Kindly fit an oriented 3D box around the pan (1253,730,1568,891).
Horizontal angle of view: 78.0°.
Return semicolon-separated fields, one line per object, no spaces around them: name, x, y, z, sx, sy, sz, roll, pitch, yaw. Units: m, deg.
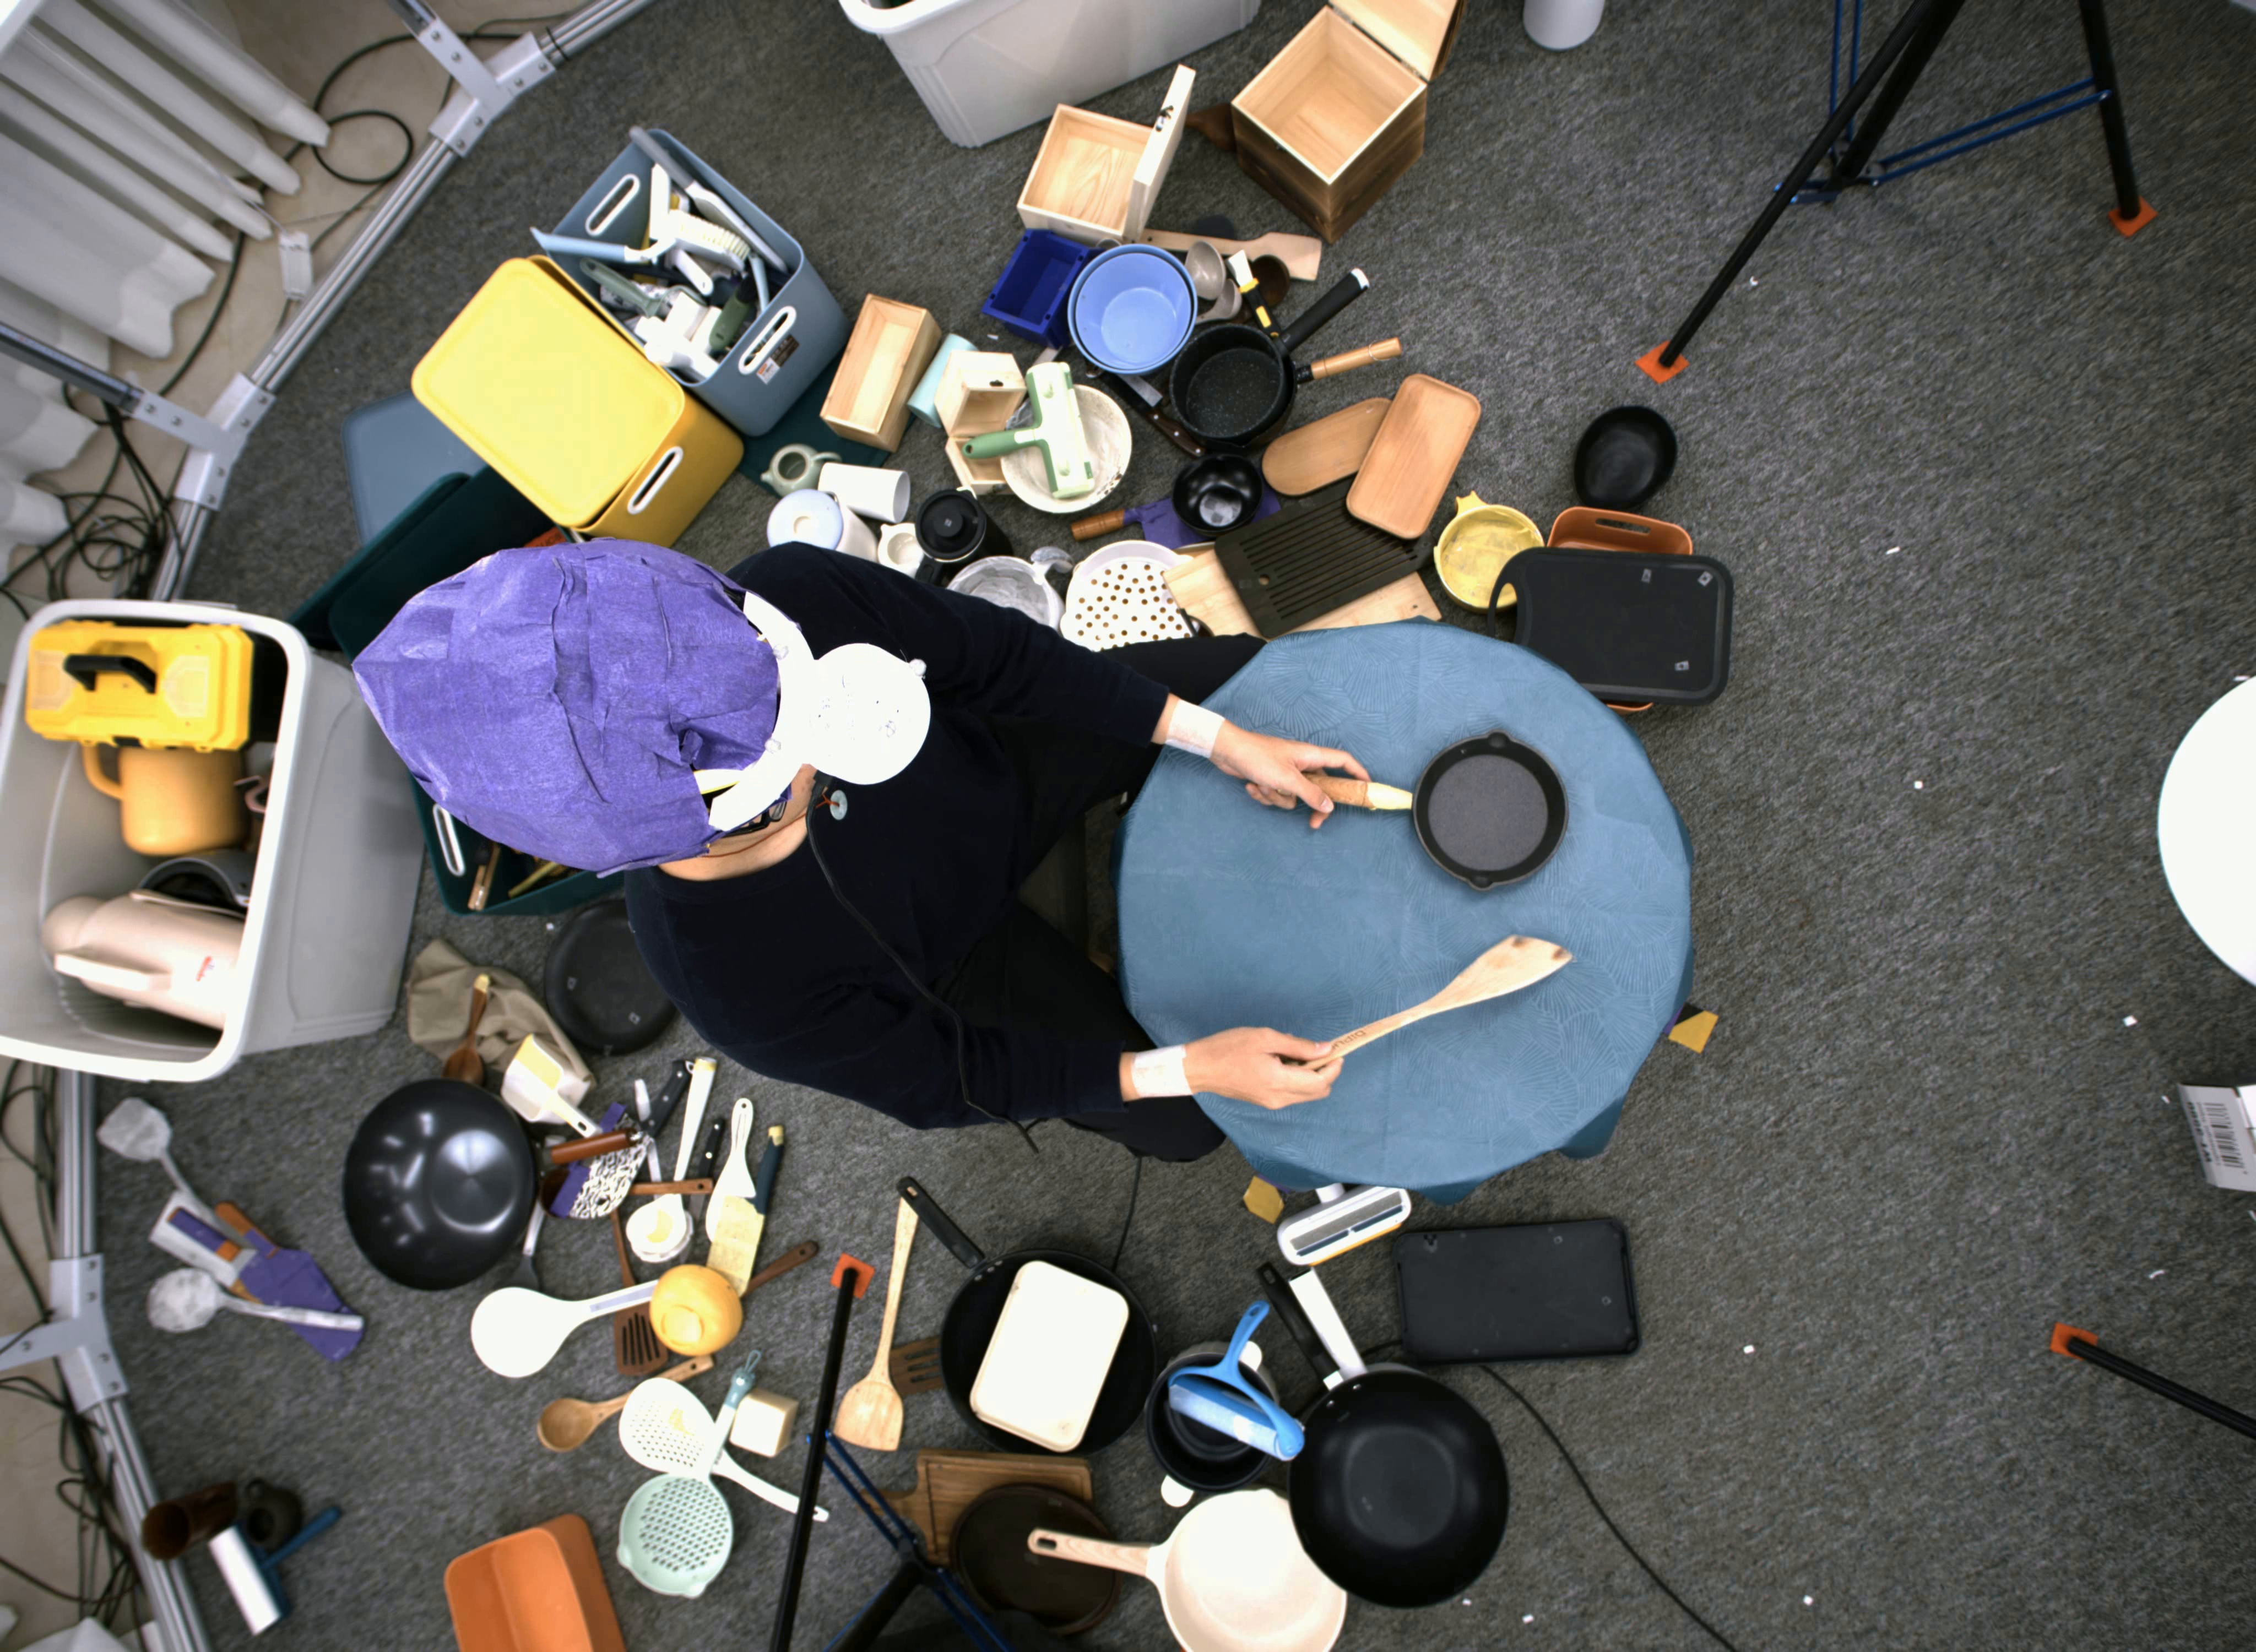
pan;0.292;-0.031;1.436;0.325;0.049;0.168;10;88;9

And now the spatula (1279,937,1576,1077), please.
spatula;0.290;0.175;1.360;0.325;0.079;0.017;-20;113;-17
